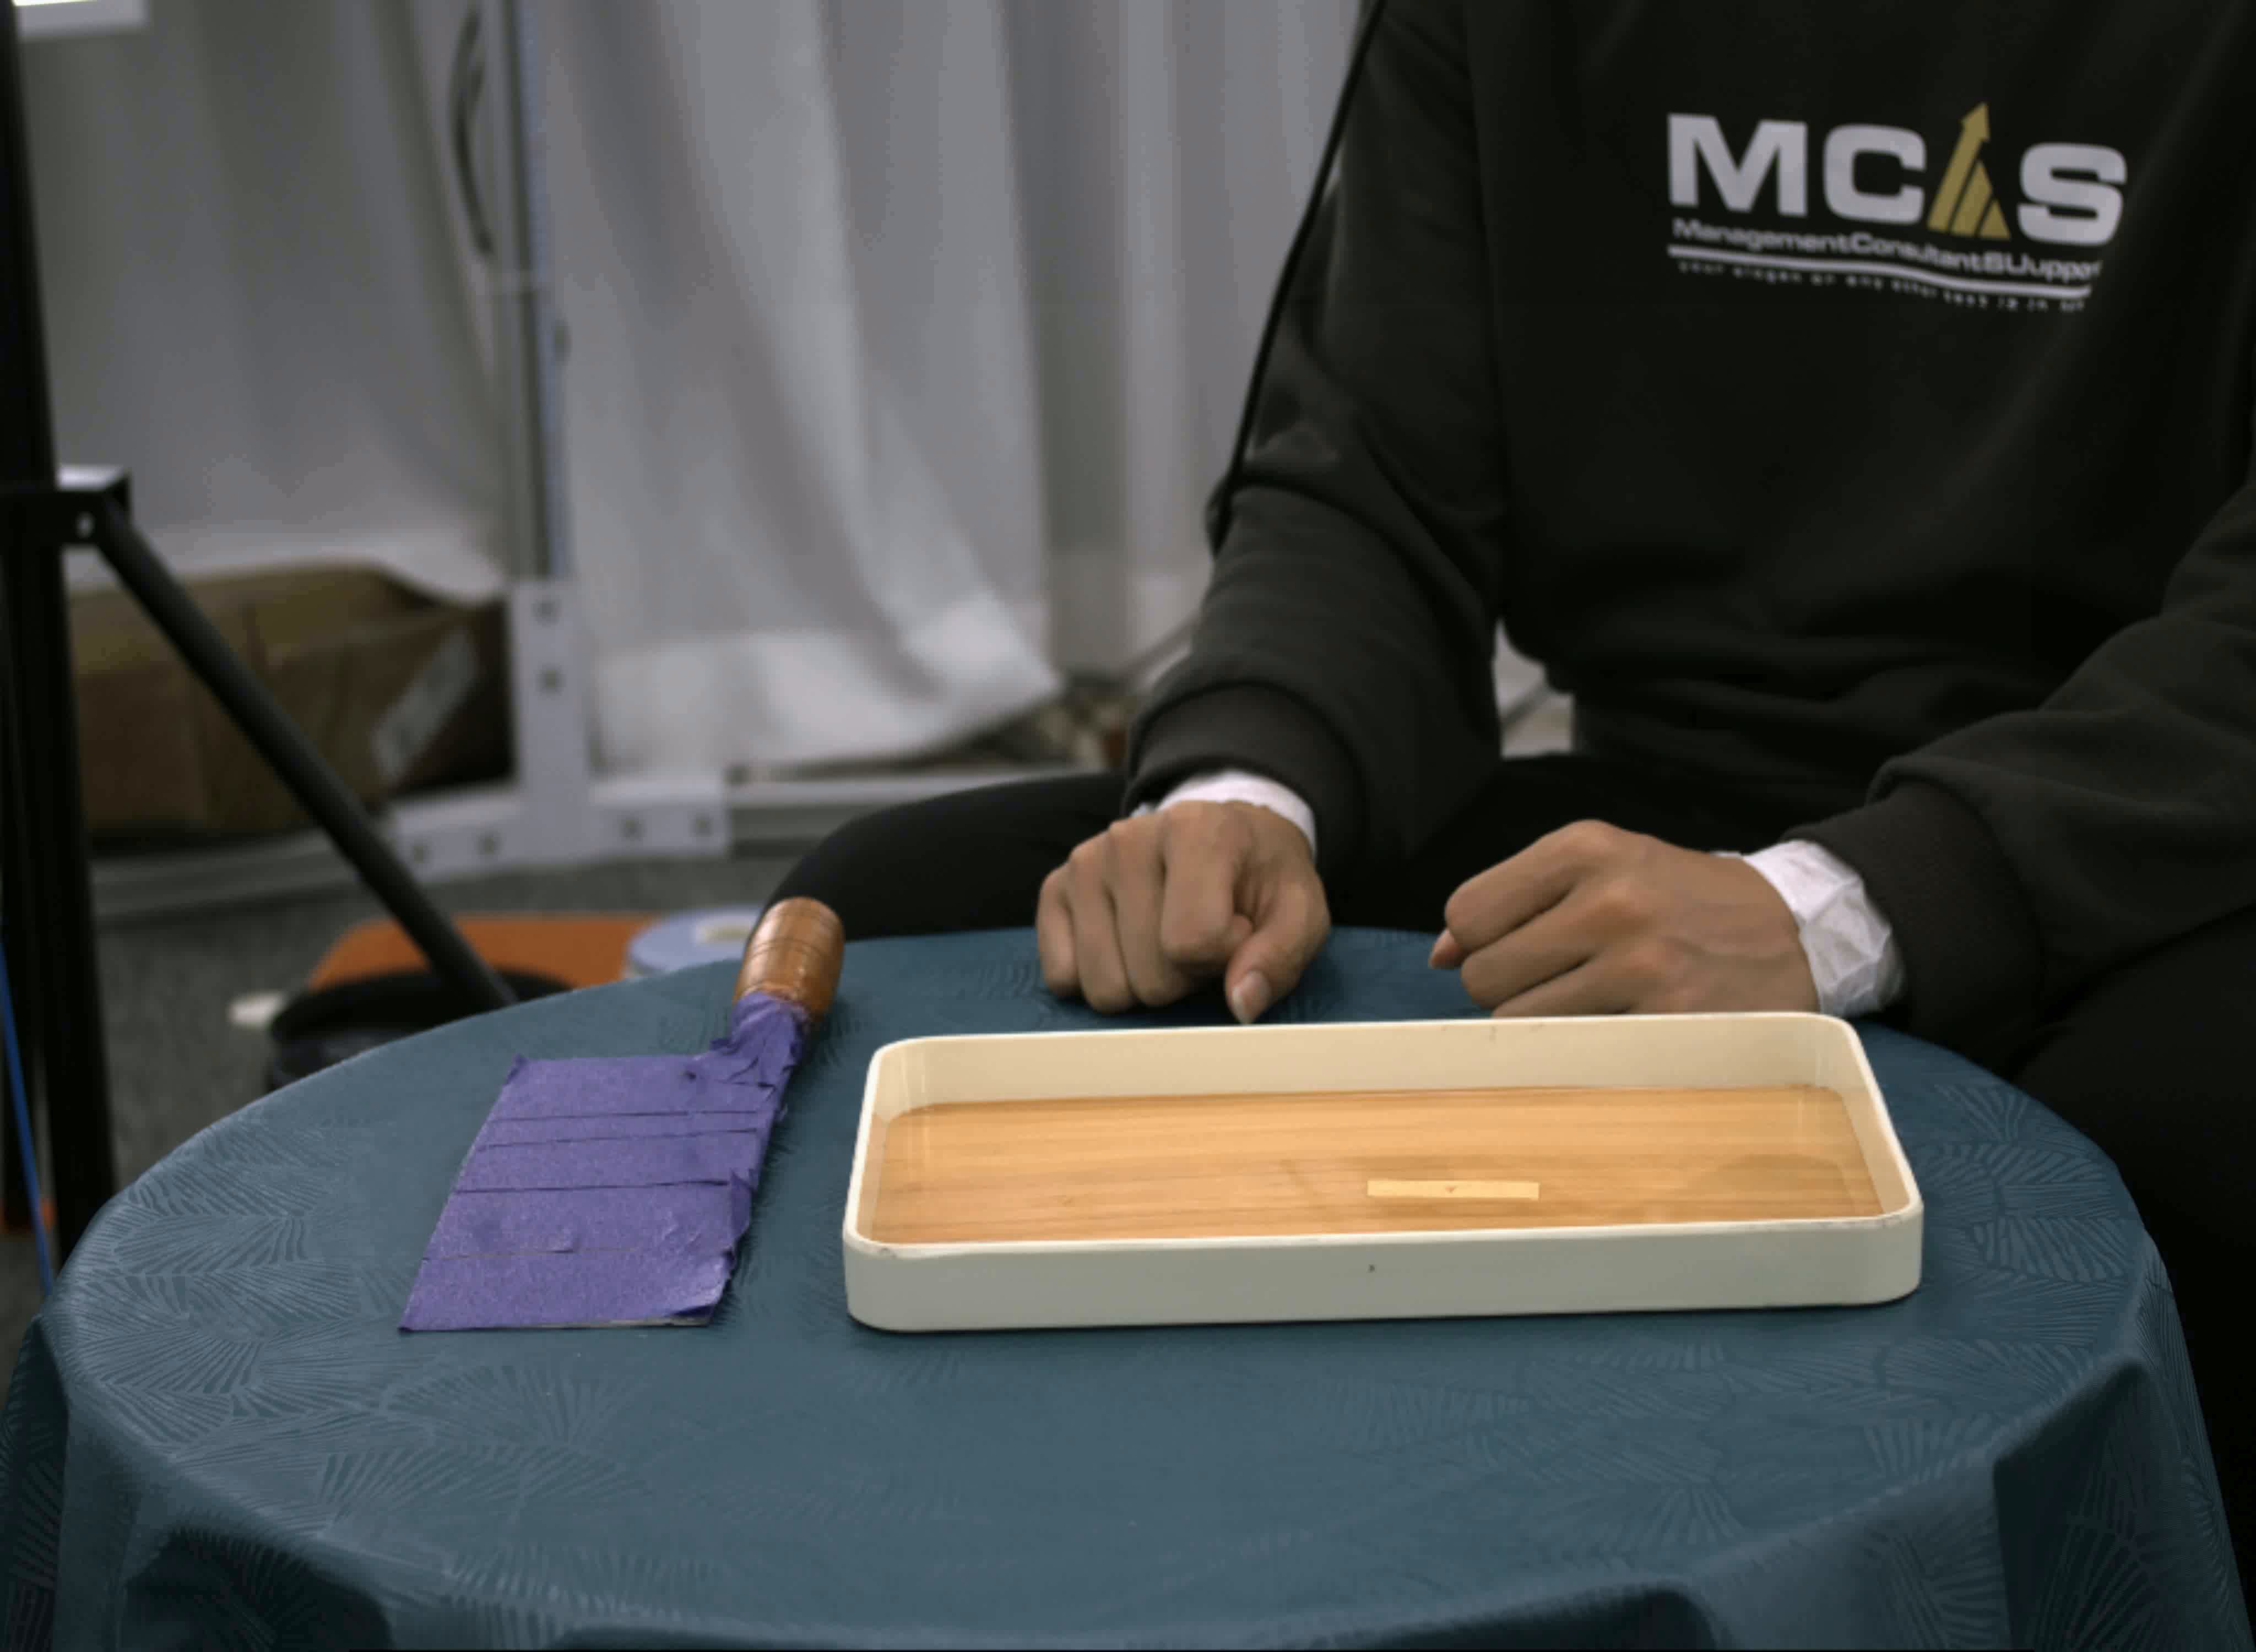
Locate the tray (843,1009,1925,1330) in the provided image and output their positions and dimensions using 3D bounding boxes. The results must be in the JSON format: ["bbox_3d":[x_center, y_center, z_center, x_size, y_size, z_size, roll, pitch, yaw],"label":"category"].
[{"bbox_3d":[0.071,0.098,1.536,0.299,0.027,0.192,-2,16,3],"label":"tray"}]

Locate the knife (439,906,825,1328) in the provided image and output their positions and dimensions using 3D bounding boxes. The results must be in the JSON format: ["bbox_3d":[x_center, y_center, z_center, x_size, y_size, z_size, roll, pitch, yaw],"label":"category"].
[{"bbox_3d":[-0.149,0.085,1.618,0.103,0.032,0.316,-1,16,3],"label":"knife"}]
